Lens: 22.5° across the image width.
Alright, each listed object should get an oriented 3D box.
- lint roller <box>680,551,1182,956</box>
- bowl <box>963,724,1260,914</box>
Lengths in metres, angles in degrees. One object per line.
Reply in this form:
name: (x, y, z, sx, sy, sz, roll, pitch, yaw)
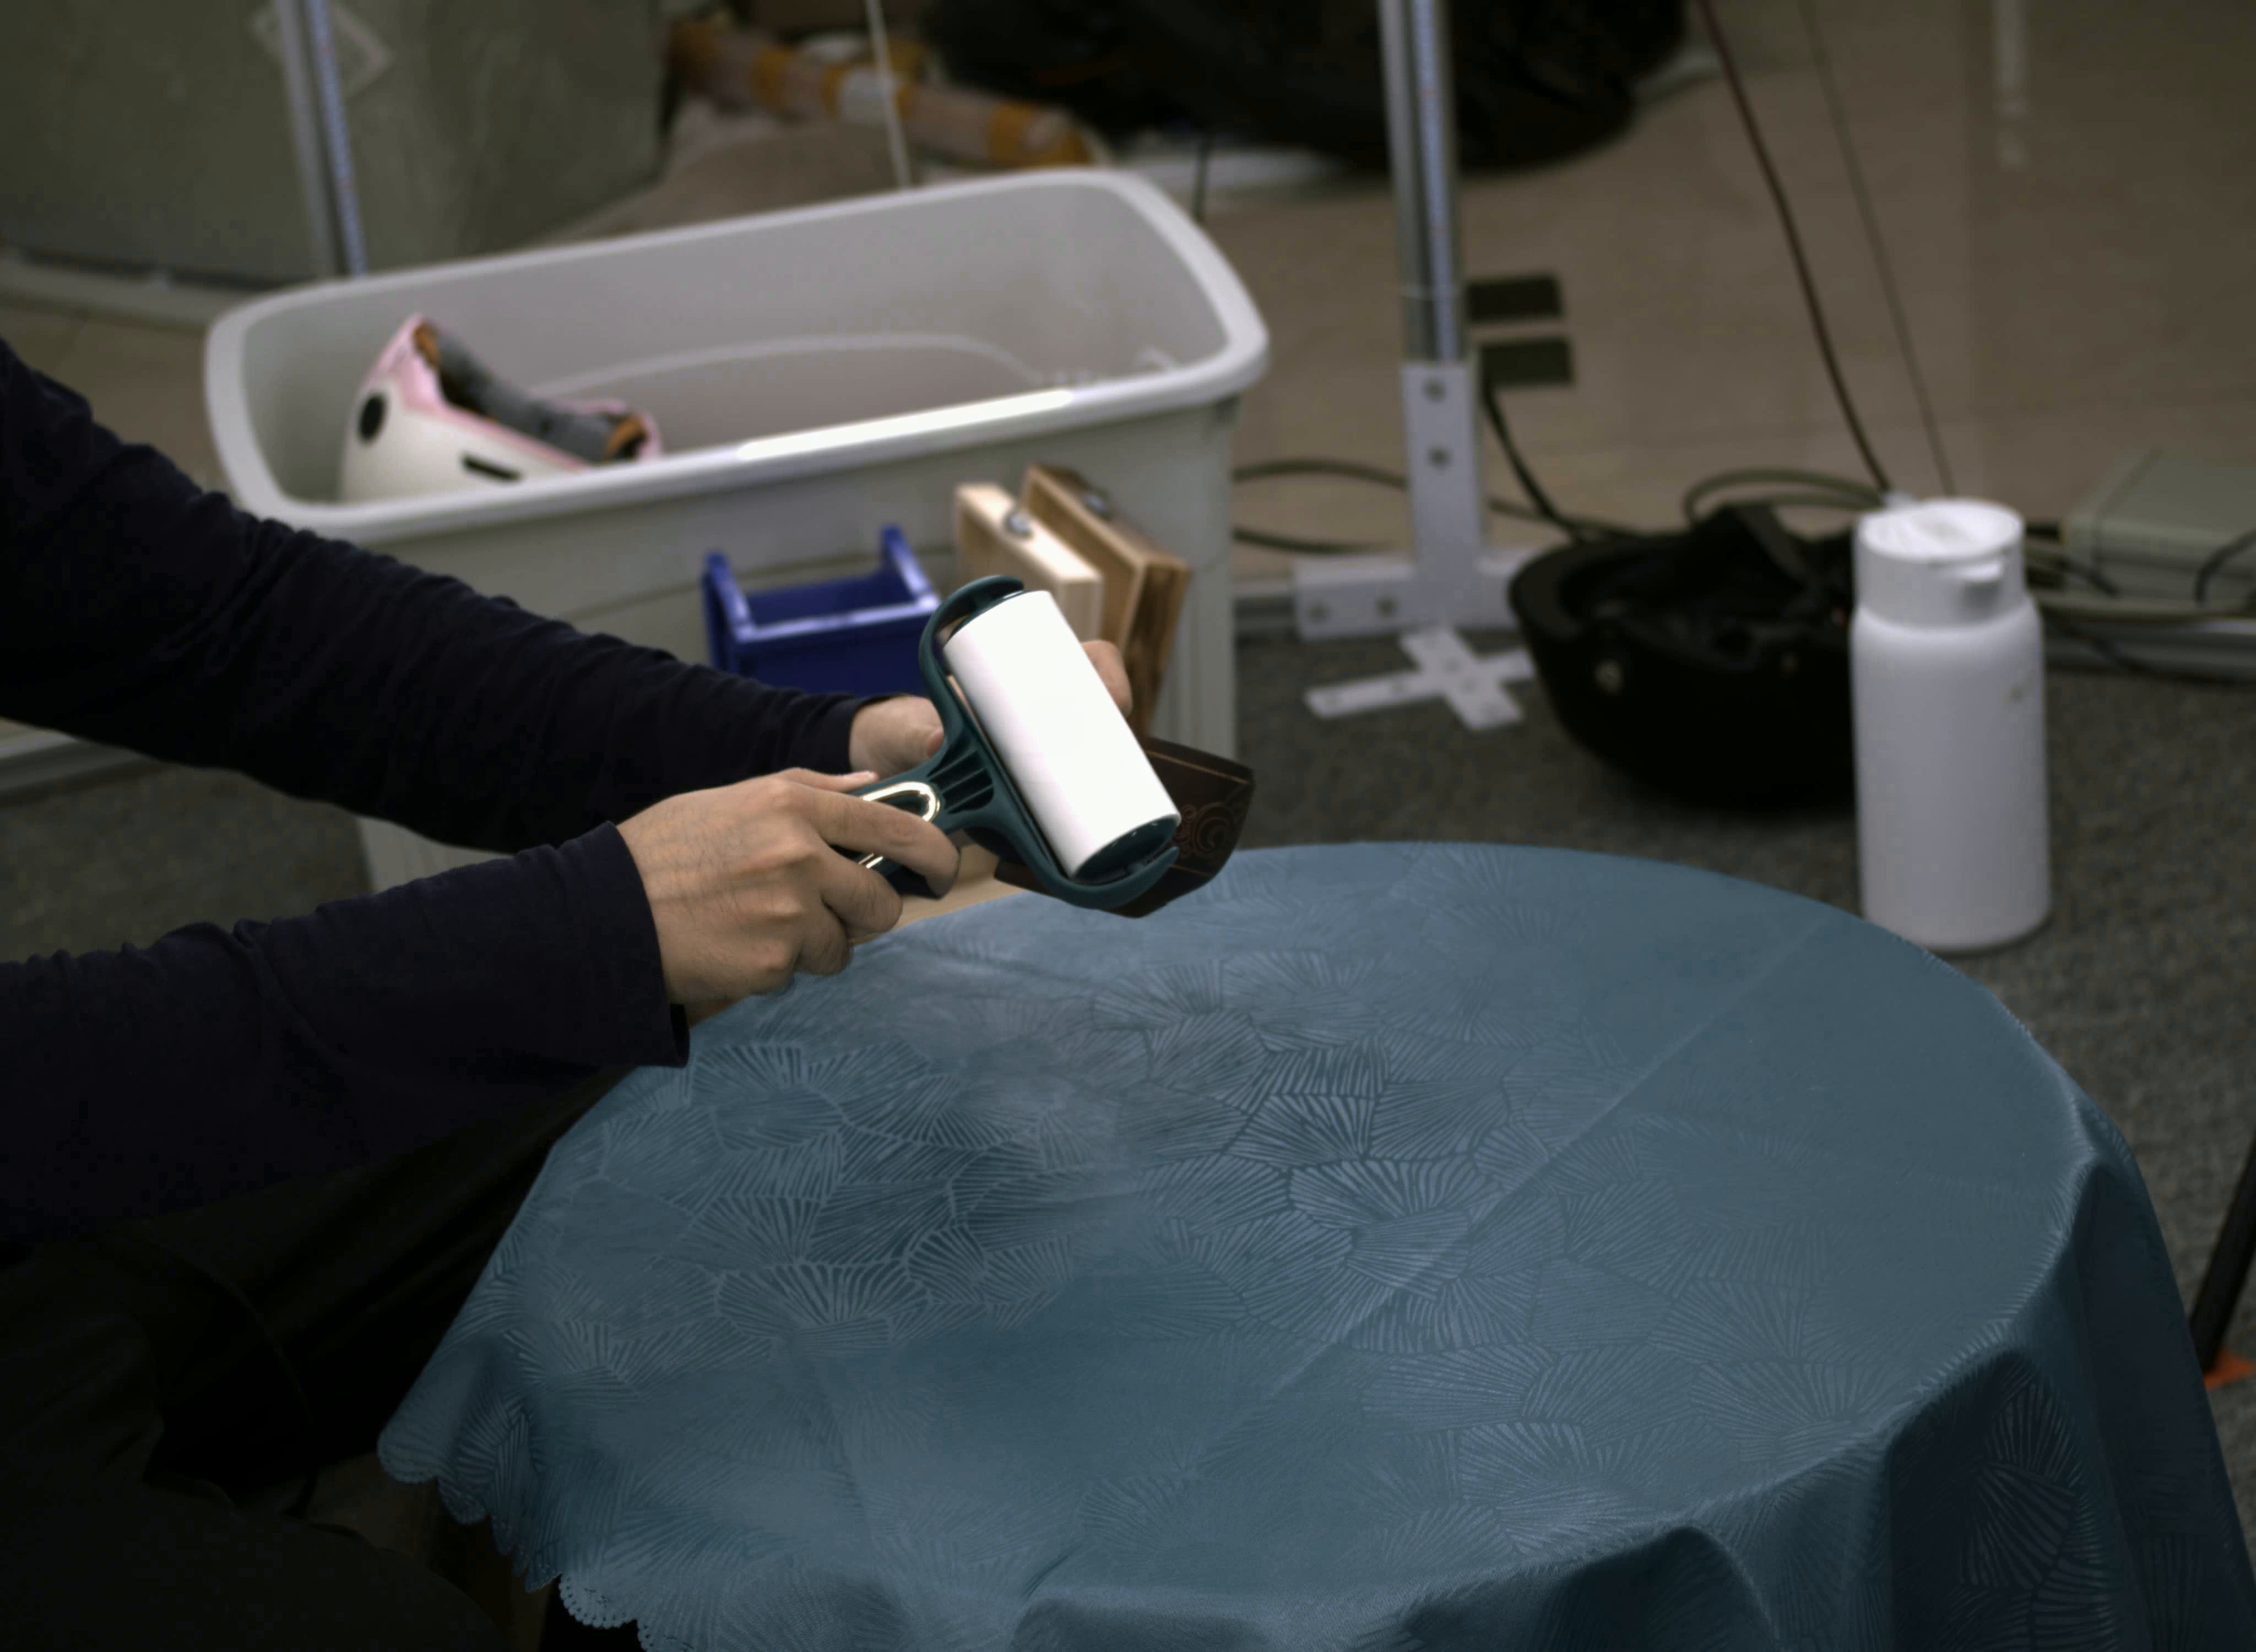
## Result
lint roller: (-0.082, -0.005, 2.065, 0.179, 0.133, 0.049, -27, -11, -17)
bowl: (-0.013, -0.006, 2.168, 0.118, 0.070, 0.118, 14, 1, 0)
